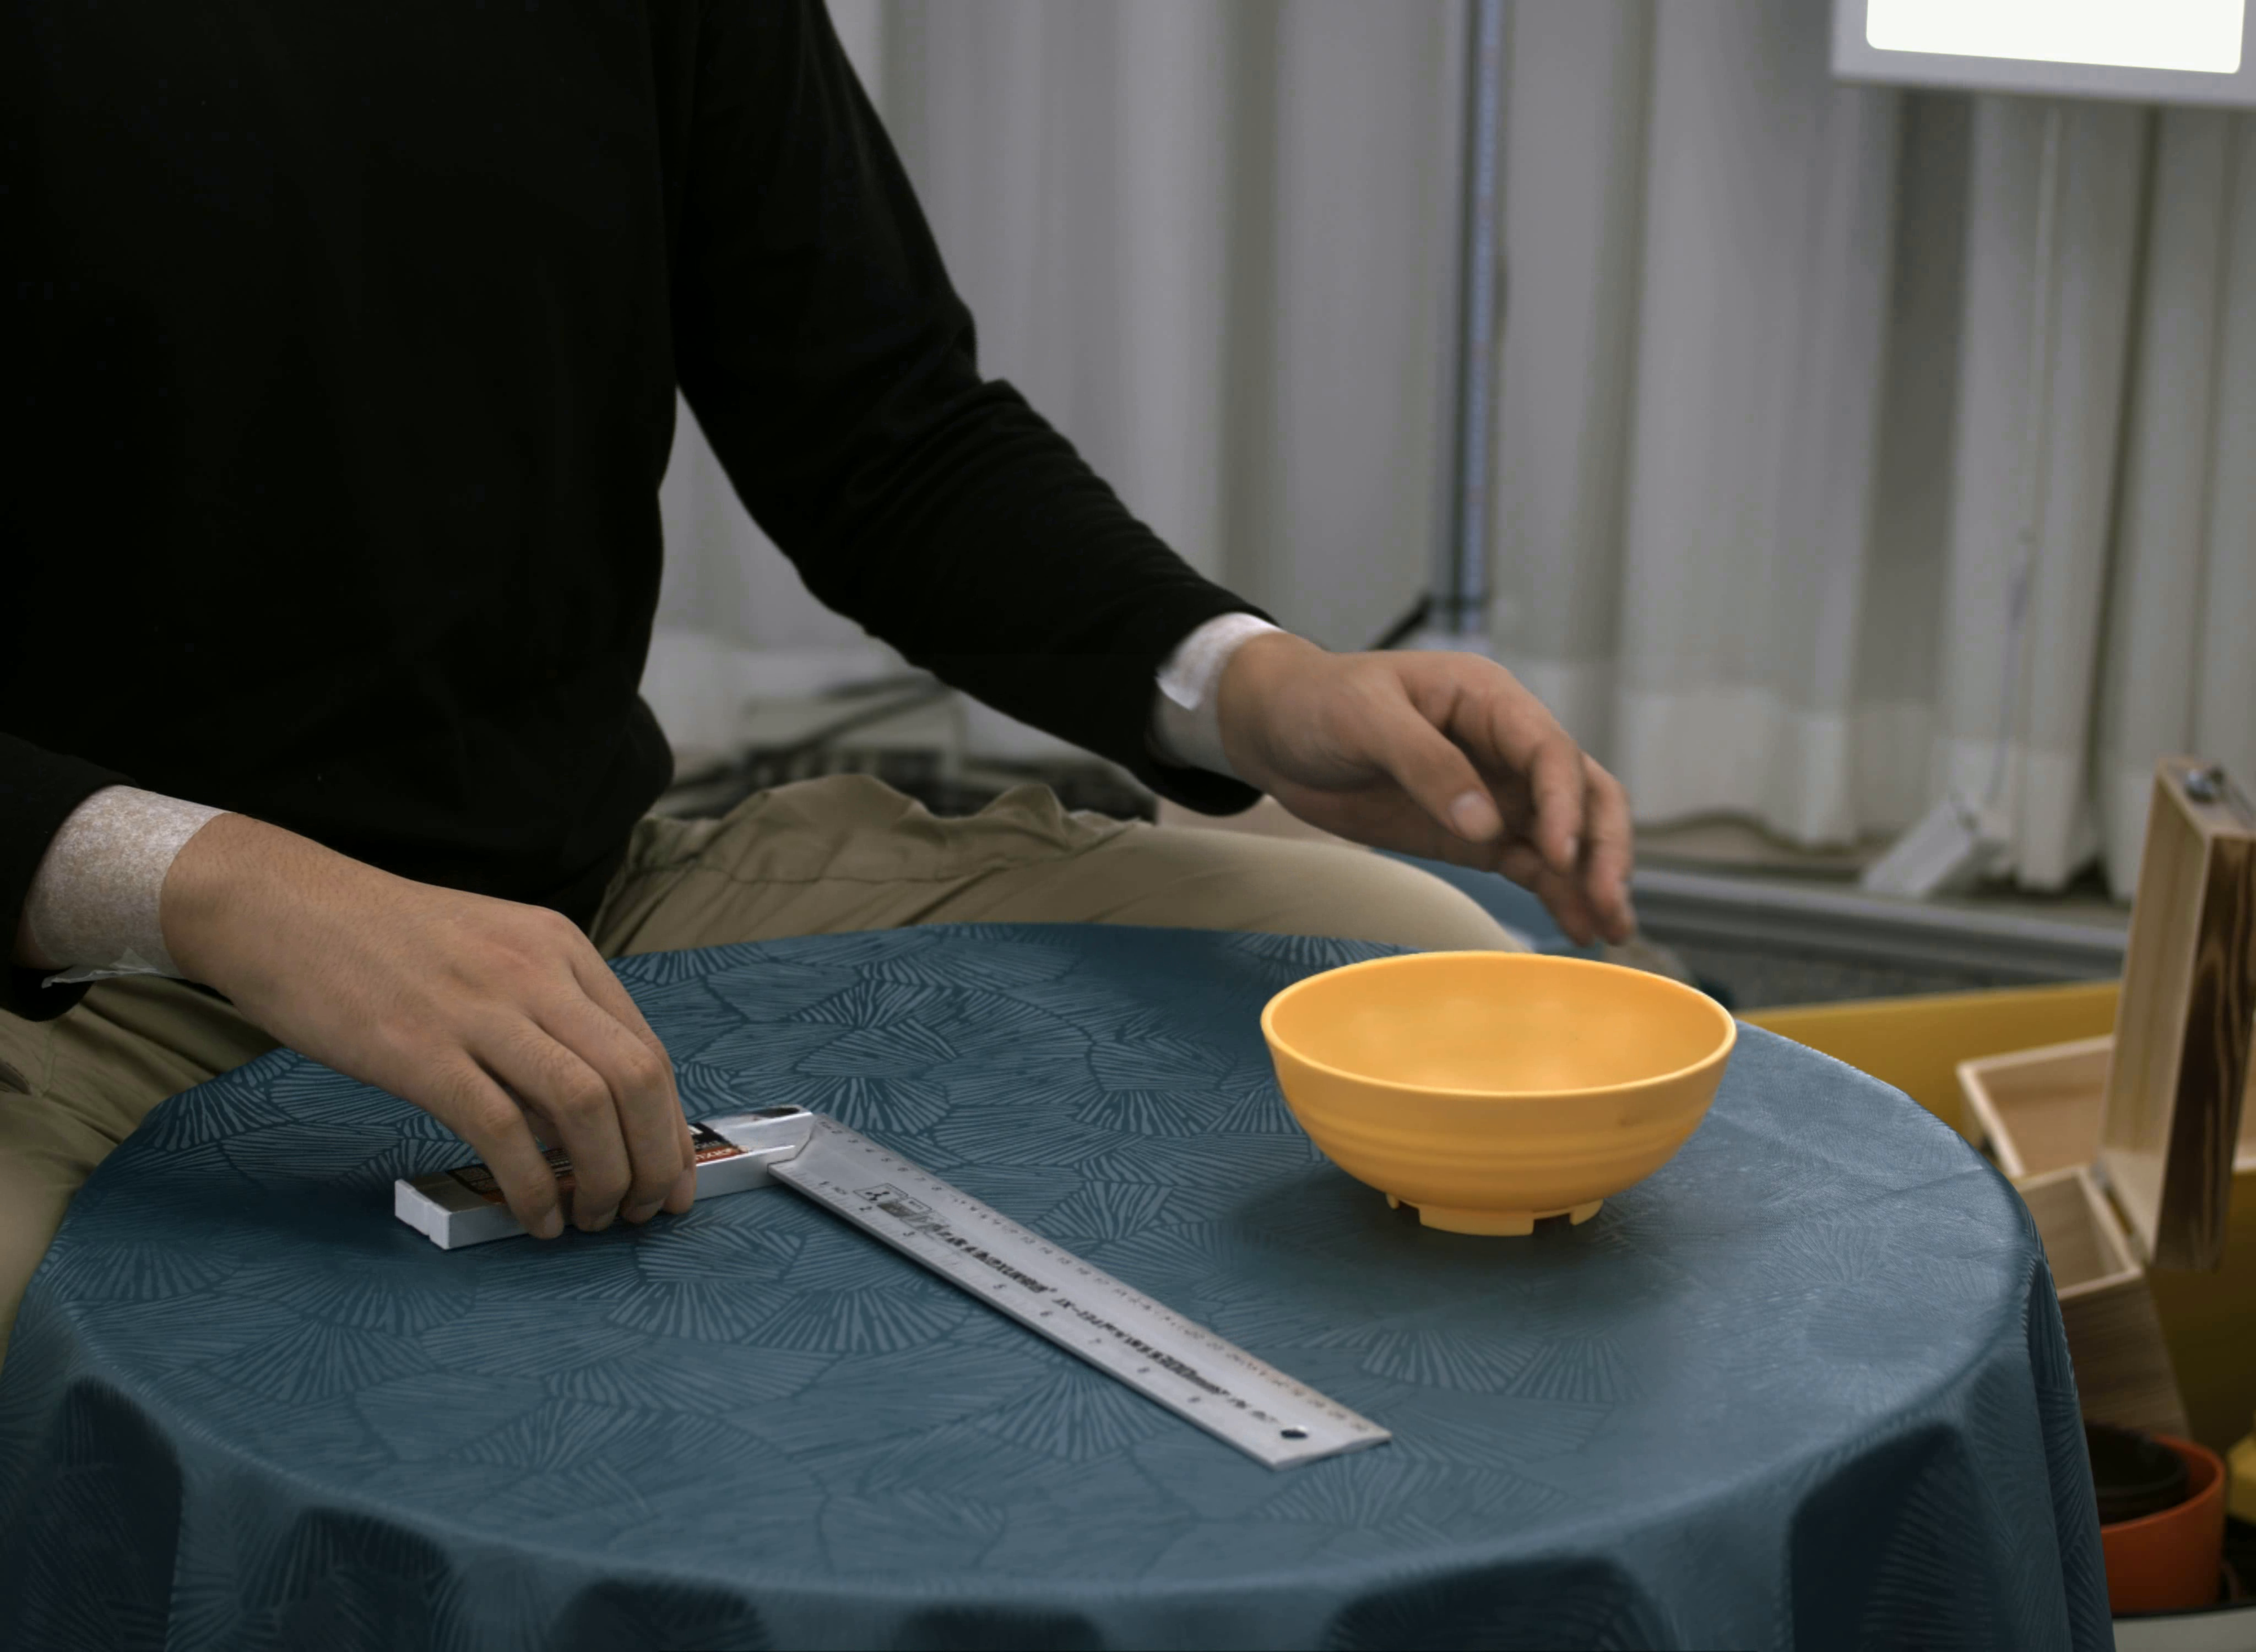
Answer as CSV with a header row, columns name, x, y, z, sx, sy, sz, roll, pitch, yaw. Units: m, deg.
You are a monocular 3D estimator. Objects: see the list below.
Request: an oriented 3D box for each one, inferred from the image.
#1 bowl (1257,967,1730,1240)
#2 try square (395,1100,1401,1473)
name,x,y,z,sx,sy,sz,roll,pitch,yaw
bowl,0.110,0.089,1.607,0.145,0.060,0.144,1,13,0
try square,-0.074,0.142,1.510,0.153,0.016,0.309,-14,22,-31
